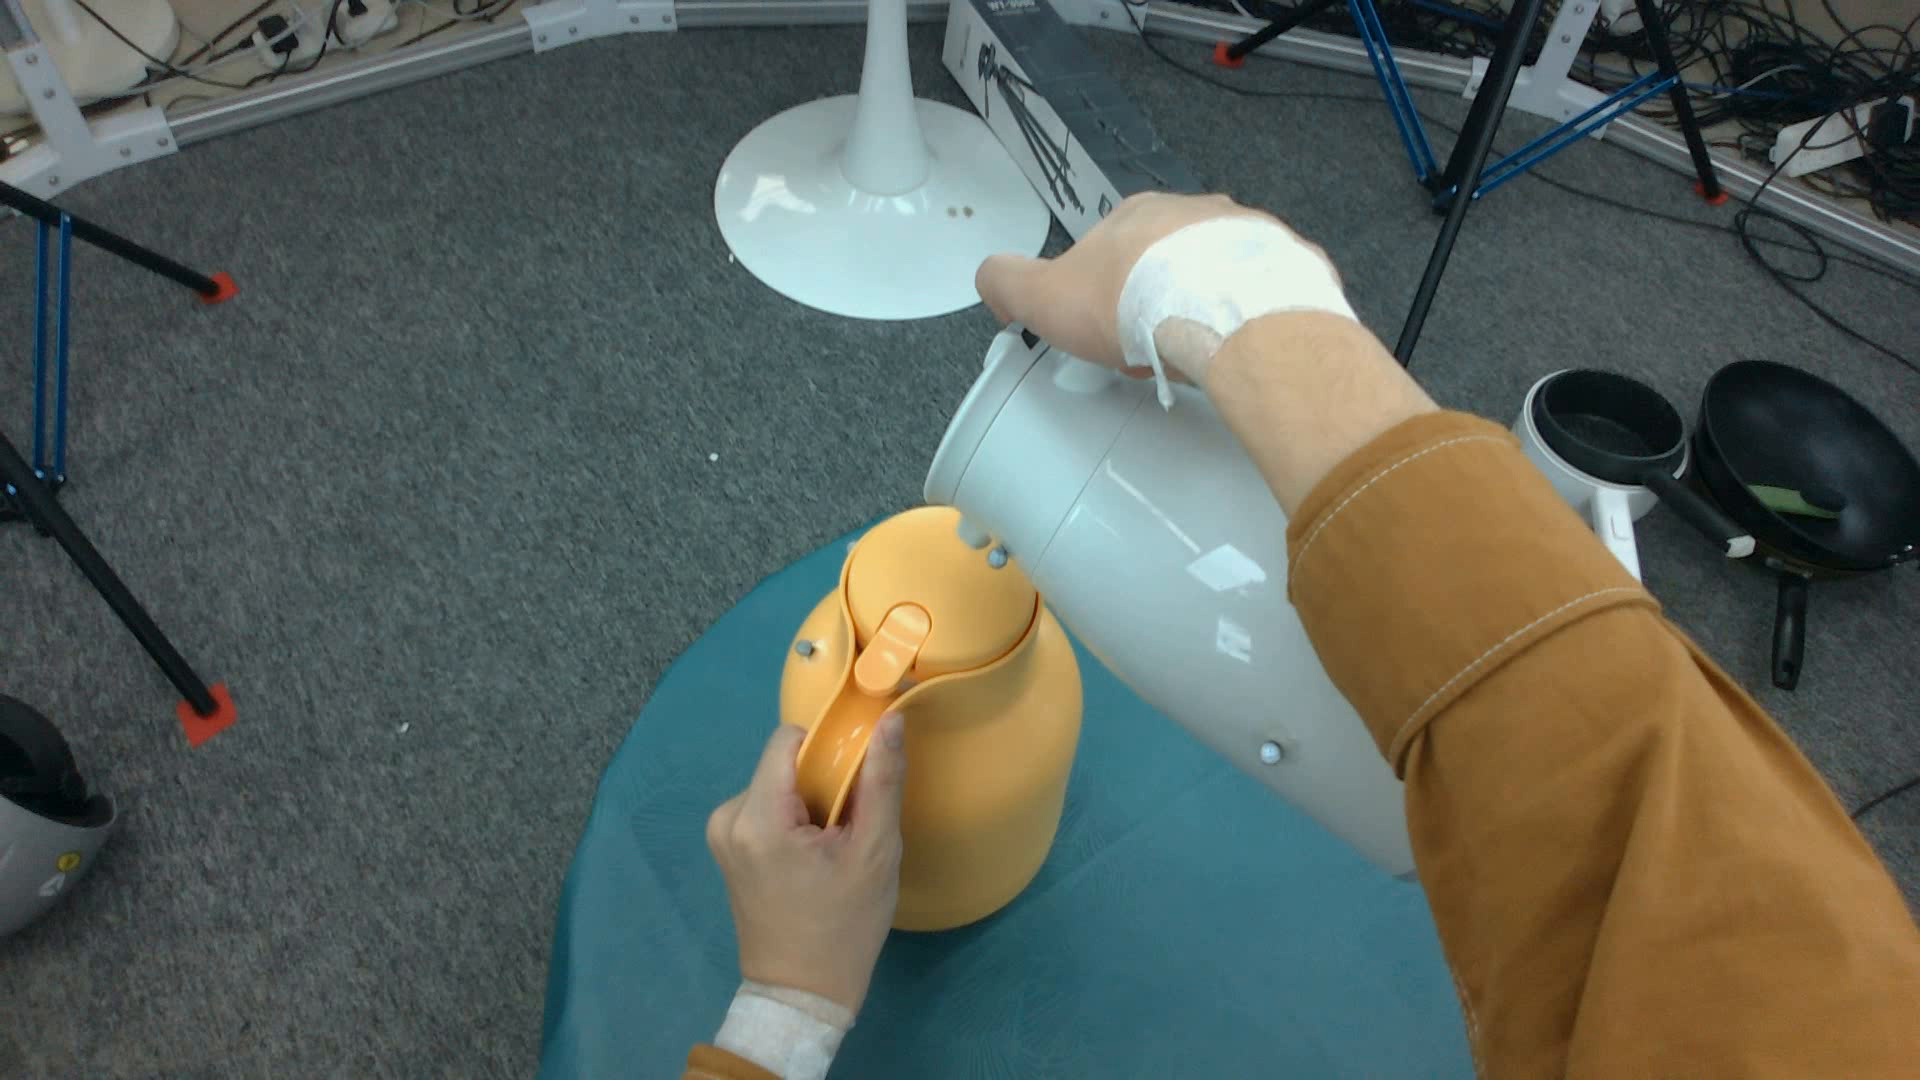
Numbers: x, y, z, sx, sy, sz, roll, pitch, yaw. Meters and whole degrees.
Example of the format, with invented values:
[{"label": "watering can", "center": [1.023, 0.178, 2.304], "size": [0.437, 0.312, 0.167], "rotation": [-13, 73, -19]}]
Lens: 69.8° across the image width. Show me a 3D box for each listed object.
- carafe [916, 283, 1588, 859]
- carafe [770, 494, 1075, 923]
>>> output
[{"label": "carafe", "center": [0.111, -0.008, 0.548], "size": [0.248, 0.167, 0.133], "rotation": [33, 42, 8]}, {"label": "carafe", "center": [-0.032, 0.099, 0.726], "size": [0.163, 0.259, 0.203], "rotation": [27, 54, 17]}]
